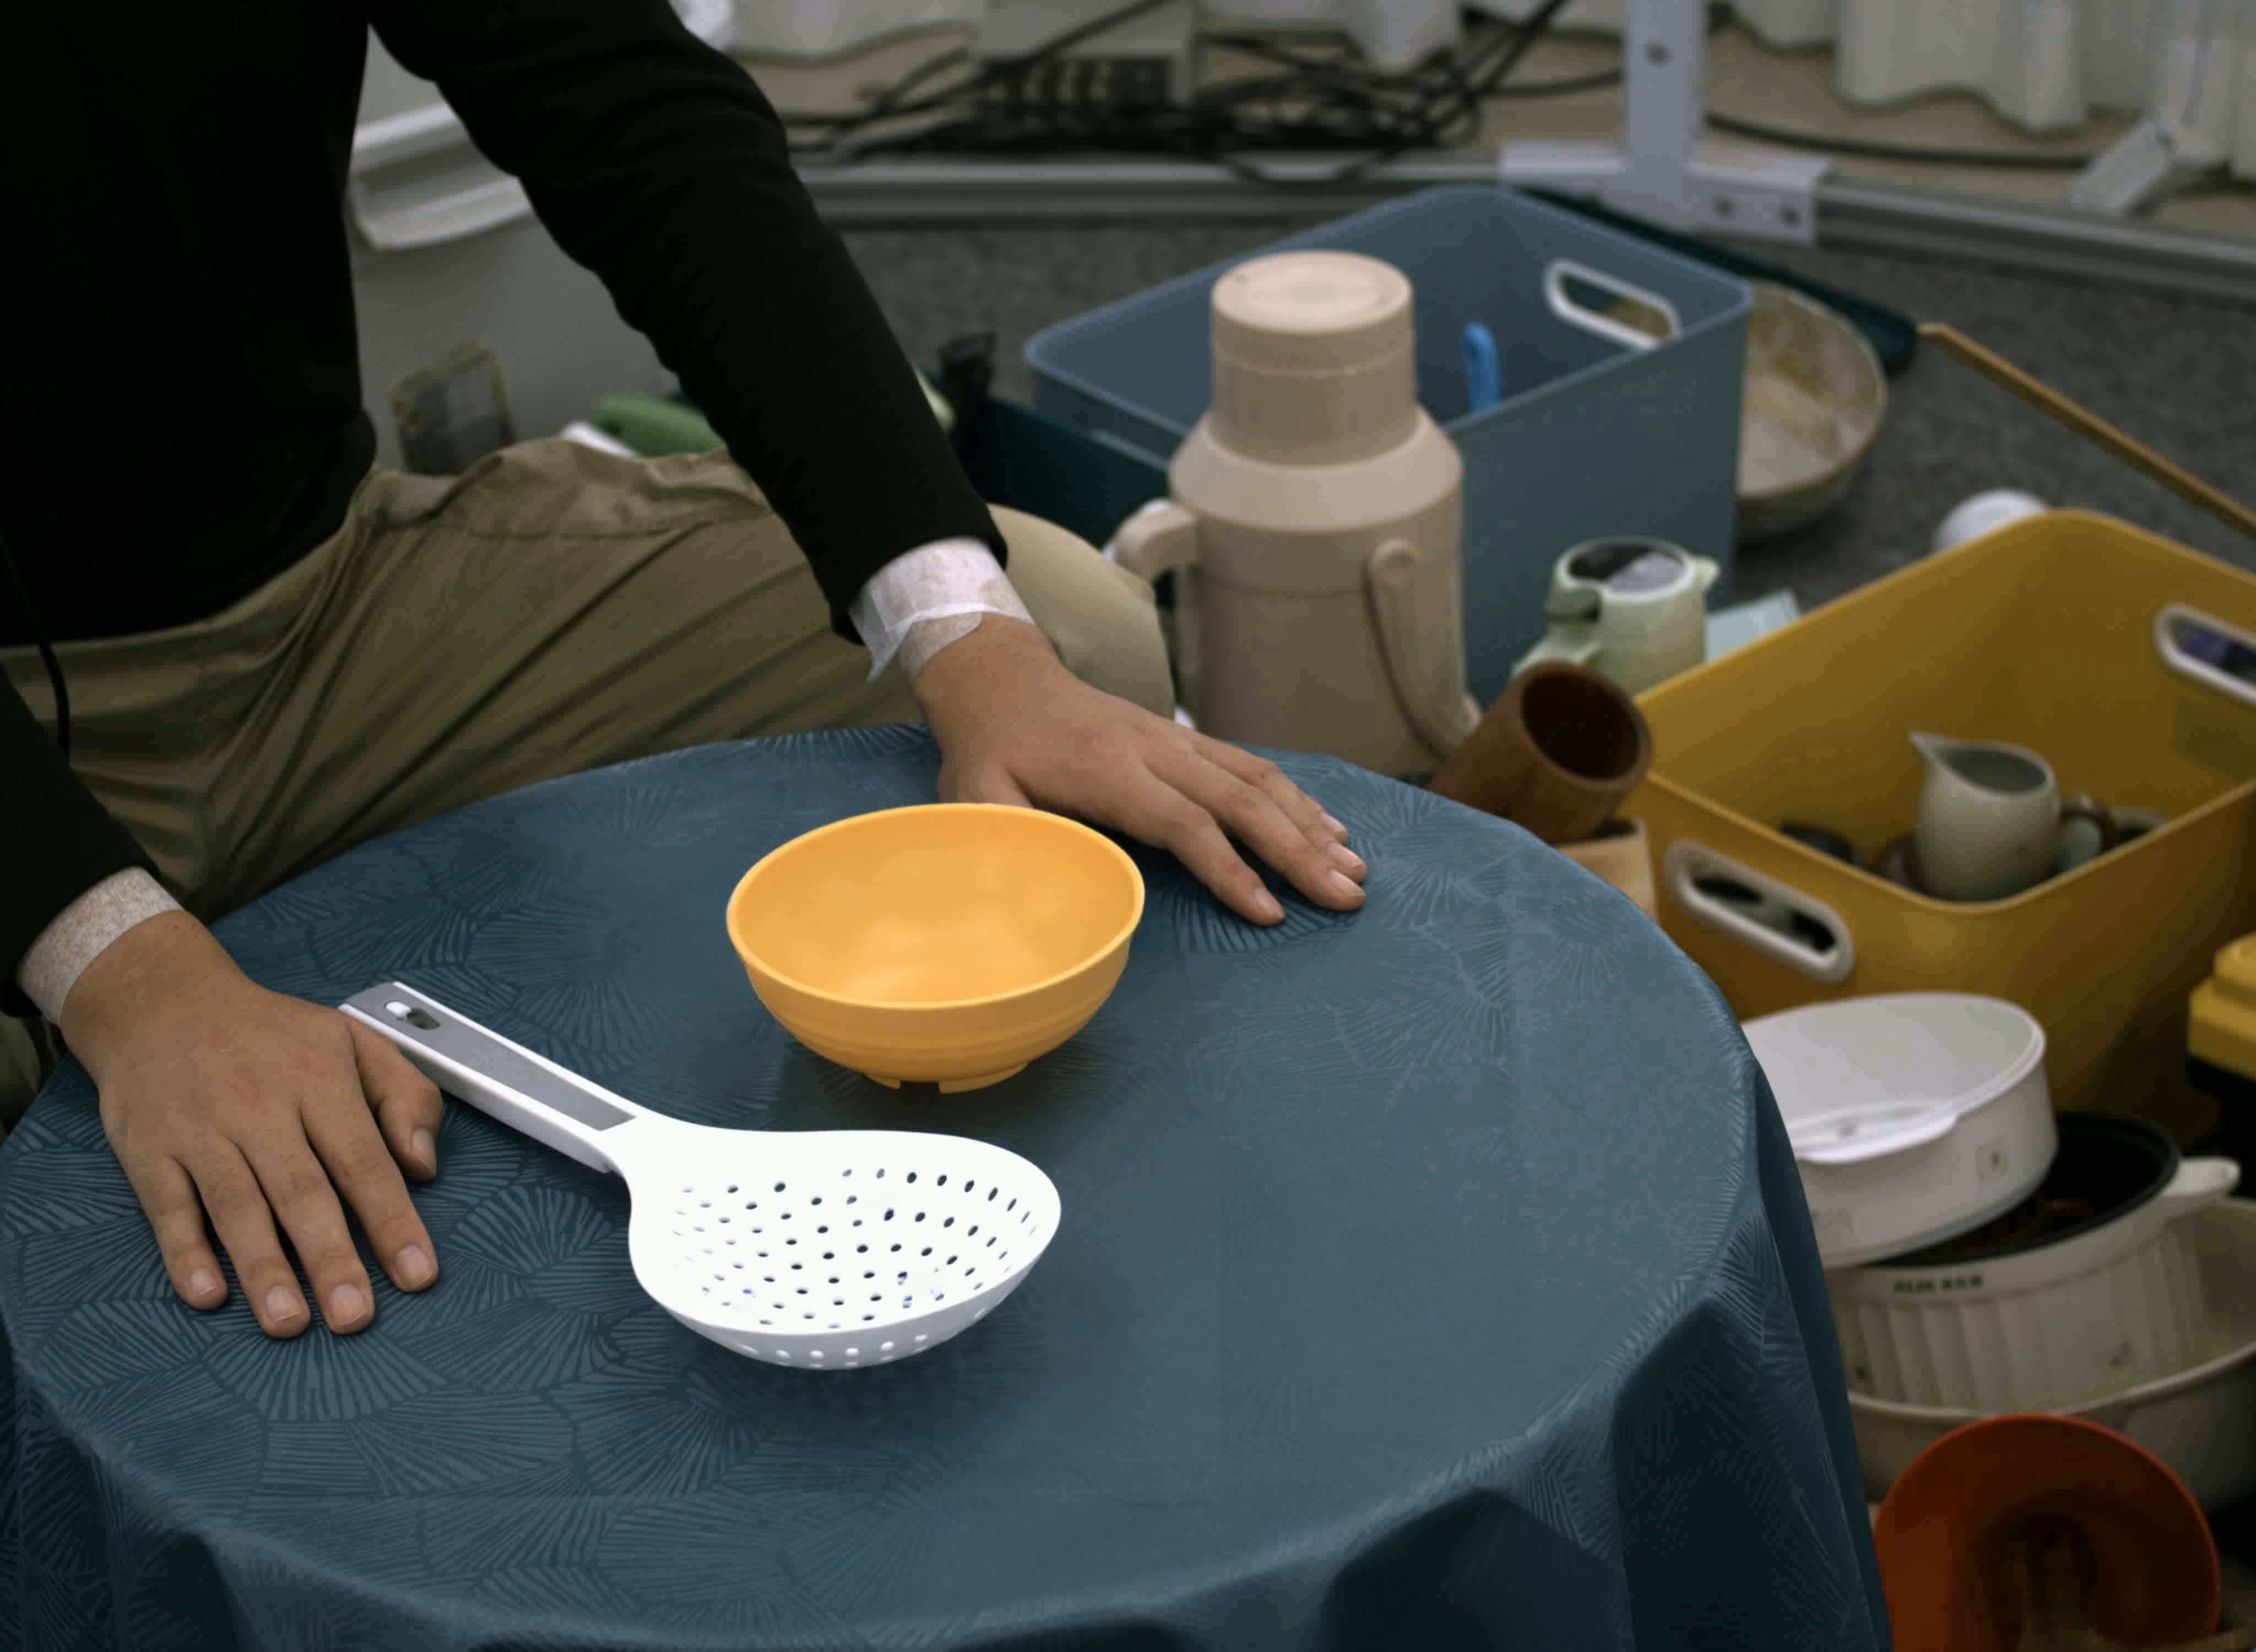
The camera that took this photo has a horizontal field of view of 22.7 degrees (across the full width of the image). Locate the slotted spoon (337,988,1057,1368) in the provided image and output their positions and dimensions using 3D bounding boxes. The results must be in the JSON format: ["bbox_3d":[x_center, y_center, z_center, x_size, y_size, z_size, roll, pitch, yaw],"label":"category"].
[{"bbox_3d":[-0.158,0.108,1.853,0.137,0.045,0.349,-23,32,-35],"label":"slotted spoon"}]

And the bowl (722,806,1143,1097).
[{"bbox_3d":[-0.067,0.053,1.942,0.144,0.059,0.147,0,27,1],"label":"bowl"}]
